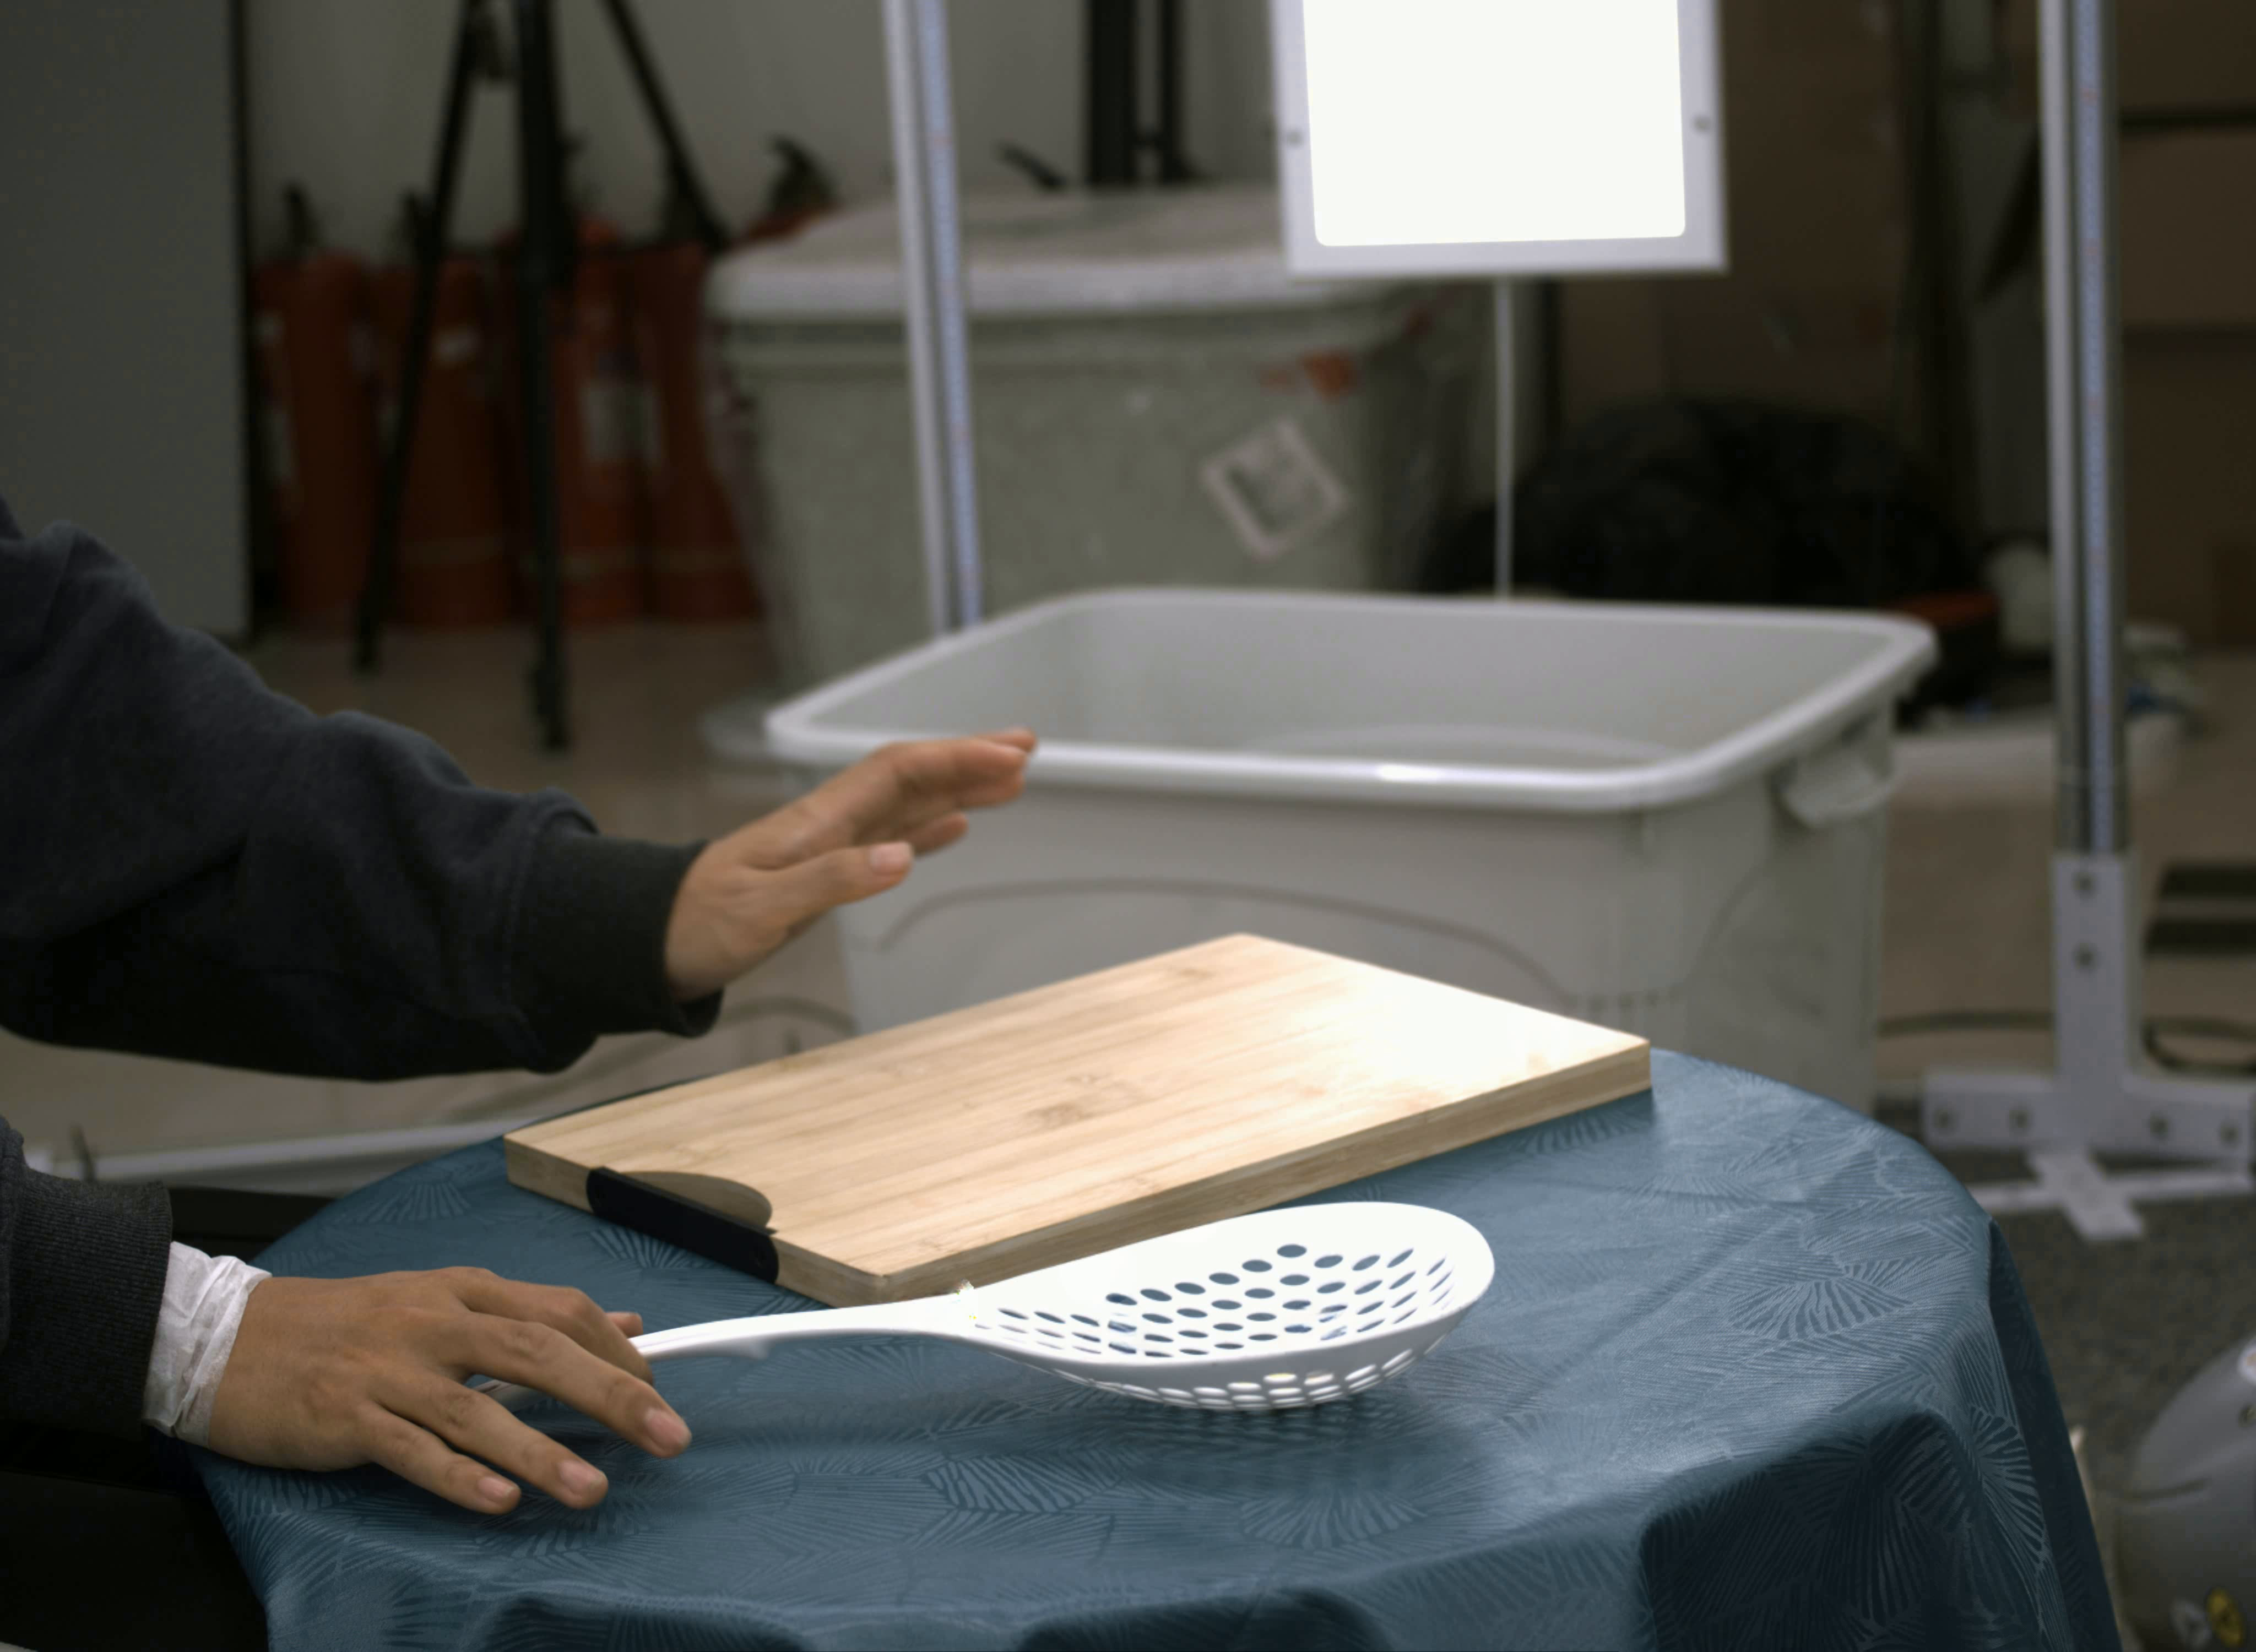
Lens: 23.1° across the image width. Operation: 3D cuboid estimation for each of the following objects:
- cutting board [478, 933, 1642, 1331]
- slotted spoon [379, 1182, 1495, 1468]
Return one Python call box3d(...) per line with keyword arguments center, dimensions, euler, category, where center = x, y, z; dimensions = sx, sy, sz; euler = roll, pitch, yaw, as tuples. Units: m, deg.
box3d(center=(-0.021, 0.104, 1.964), dimensions=(0.340, 0.023, 0.256), euler=(-15, 16, -34), category="cutting board")
box3d(center=(-0.060, 0.160, 1.692), dimensions=(0.348, 0.050, 0.136), euler=(-4, 15, 5), category="slotted spoon")
